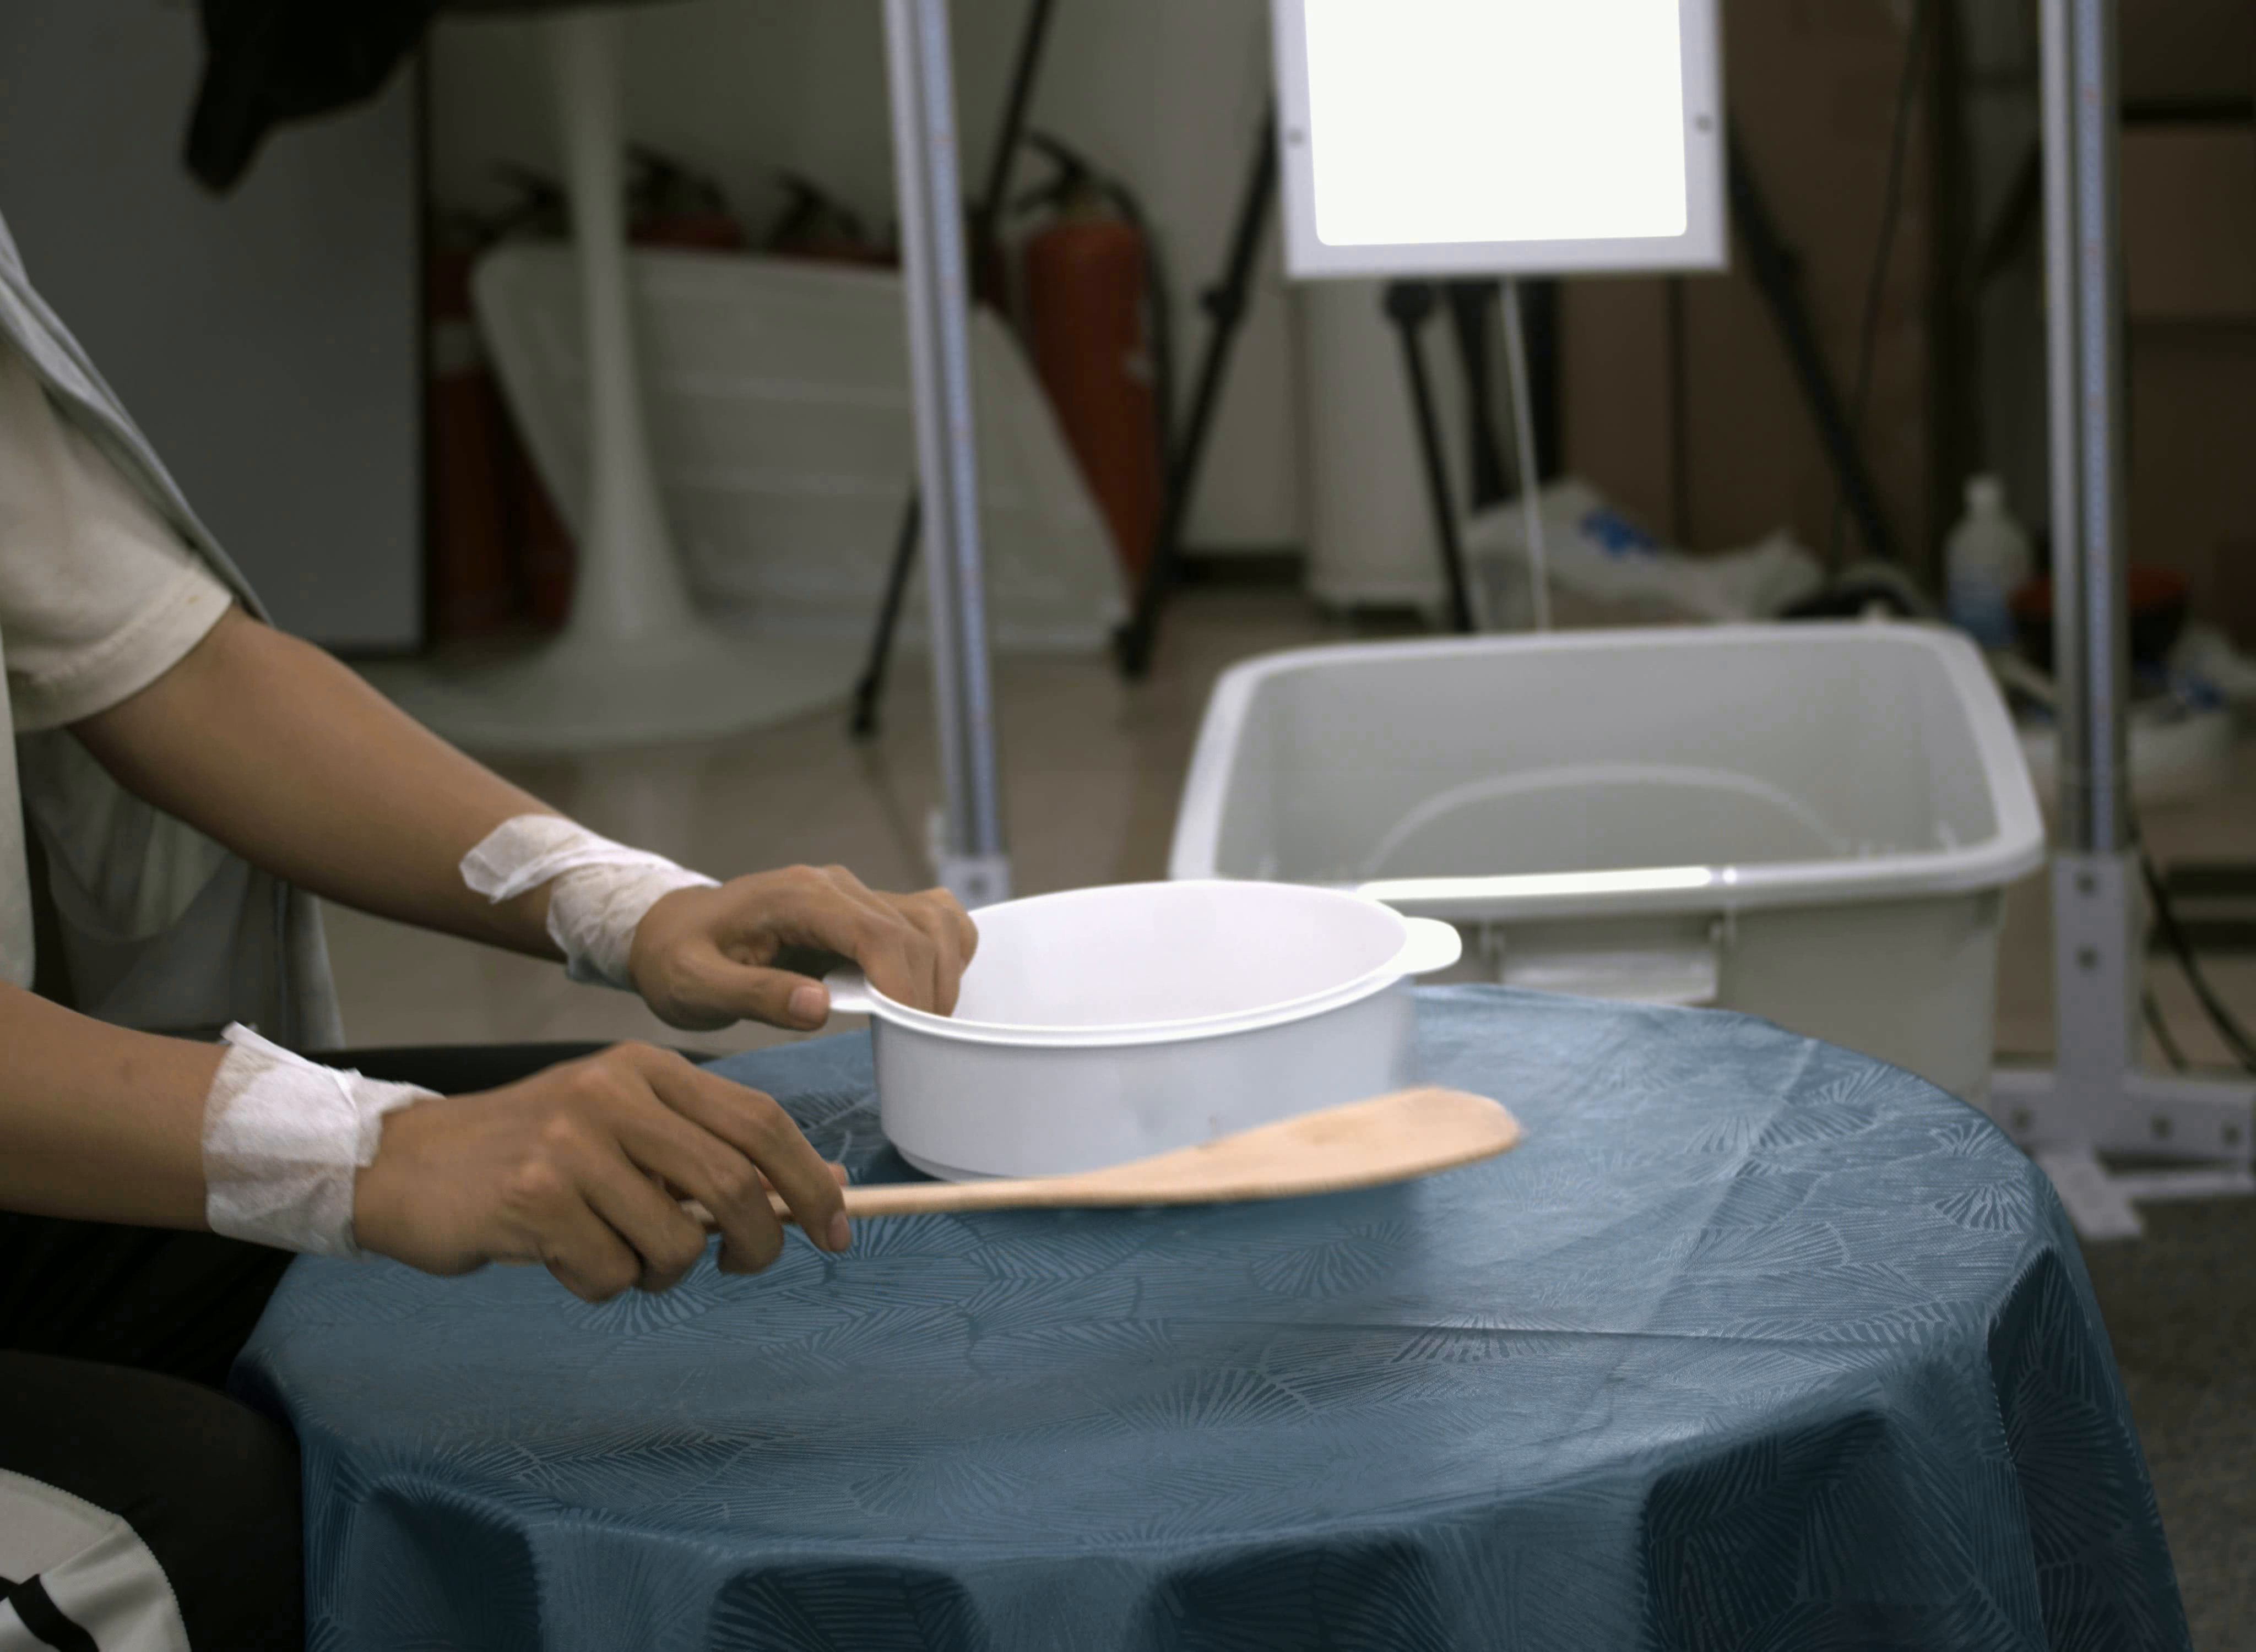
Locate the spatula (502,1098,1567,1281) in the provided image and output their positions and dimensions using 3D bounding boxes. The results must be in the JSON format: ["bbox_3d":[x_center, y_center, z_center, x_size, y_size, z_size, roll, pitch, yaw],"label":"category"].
[{"bbox_3d":[-0.030,0.113,1.695,0.324,0.016,0.080,-6,12,-8],"label":"spatula"}]

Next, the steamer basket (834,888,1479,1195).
[{"bbox_3d":[0.012,0.077,1.958,0.230,0.069,0.201,-5,12,3],"label":"steamer basket"}]
